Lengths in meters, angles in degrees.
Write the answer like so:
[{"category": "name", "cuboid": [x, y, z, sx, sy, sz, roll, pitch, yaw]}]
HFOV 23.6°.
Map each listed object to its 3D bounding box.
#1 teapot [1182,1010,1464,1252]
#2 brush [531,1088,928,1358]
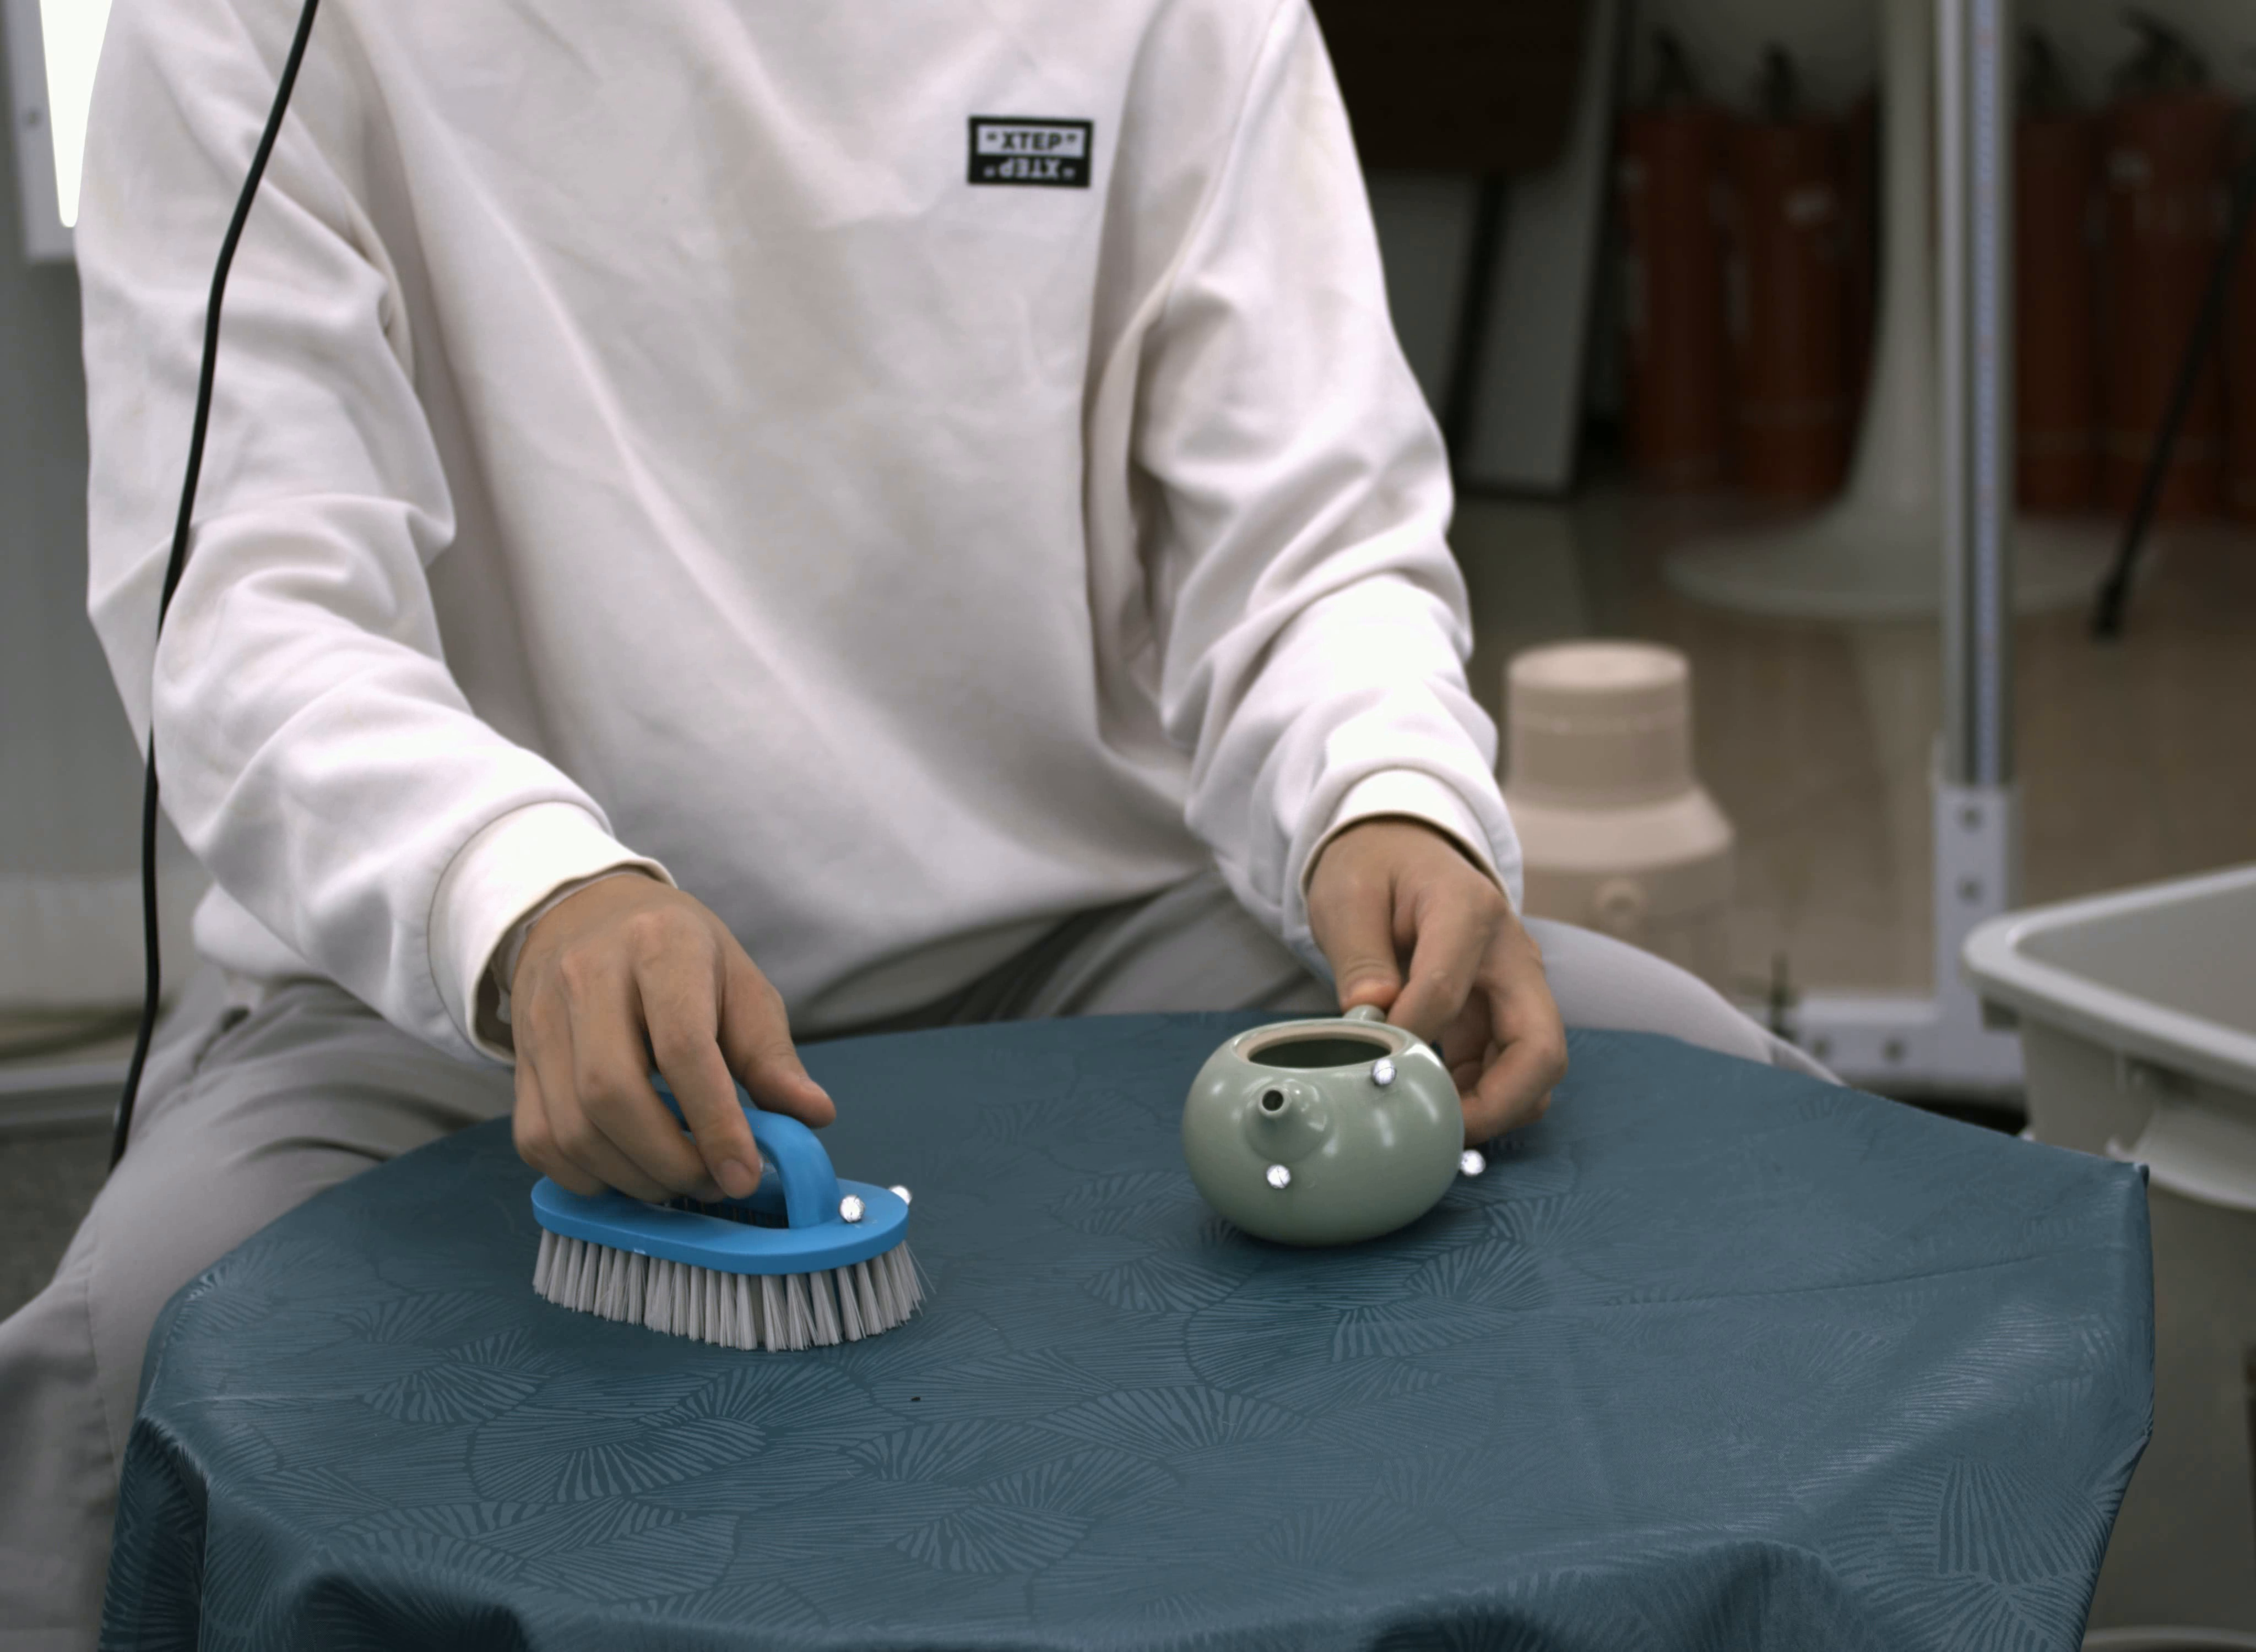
[{"category": "teapot", "cuboid": [0.066, 0.098, 1.732, 0.091, 0.061, 0.127, -1, 12, 25]}, {"category": "brush", "cuboid": [-0.129, 0.117, 1.690, 0.143, 0.064, 0.083, 7, 21, 42]}]
